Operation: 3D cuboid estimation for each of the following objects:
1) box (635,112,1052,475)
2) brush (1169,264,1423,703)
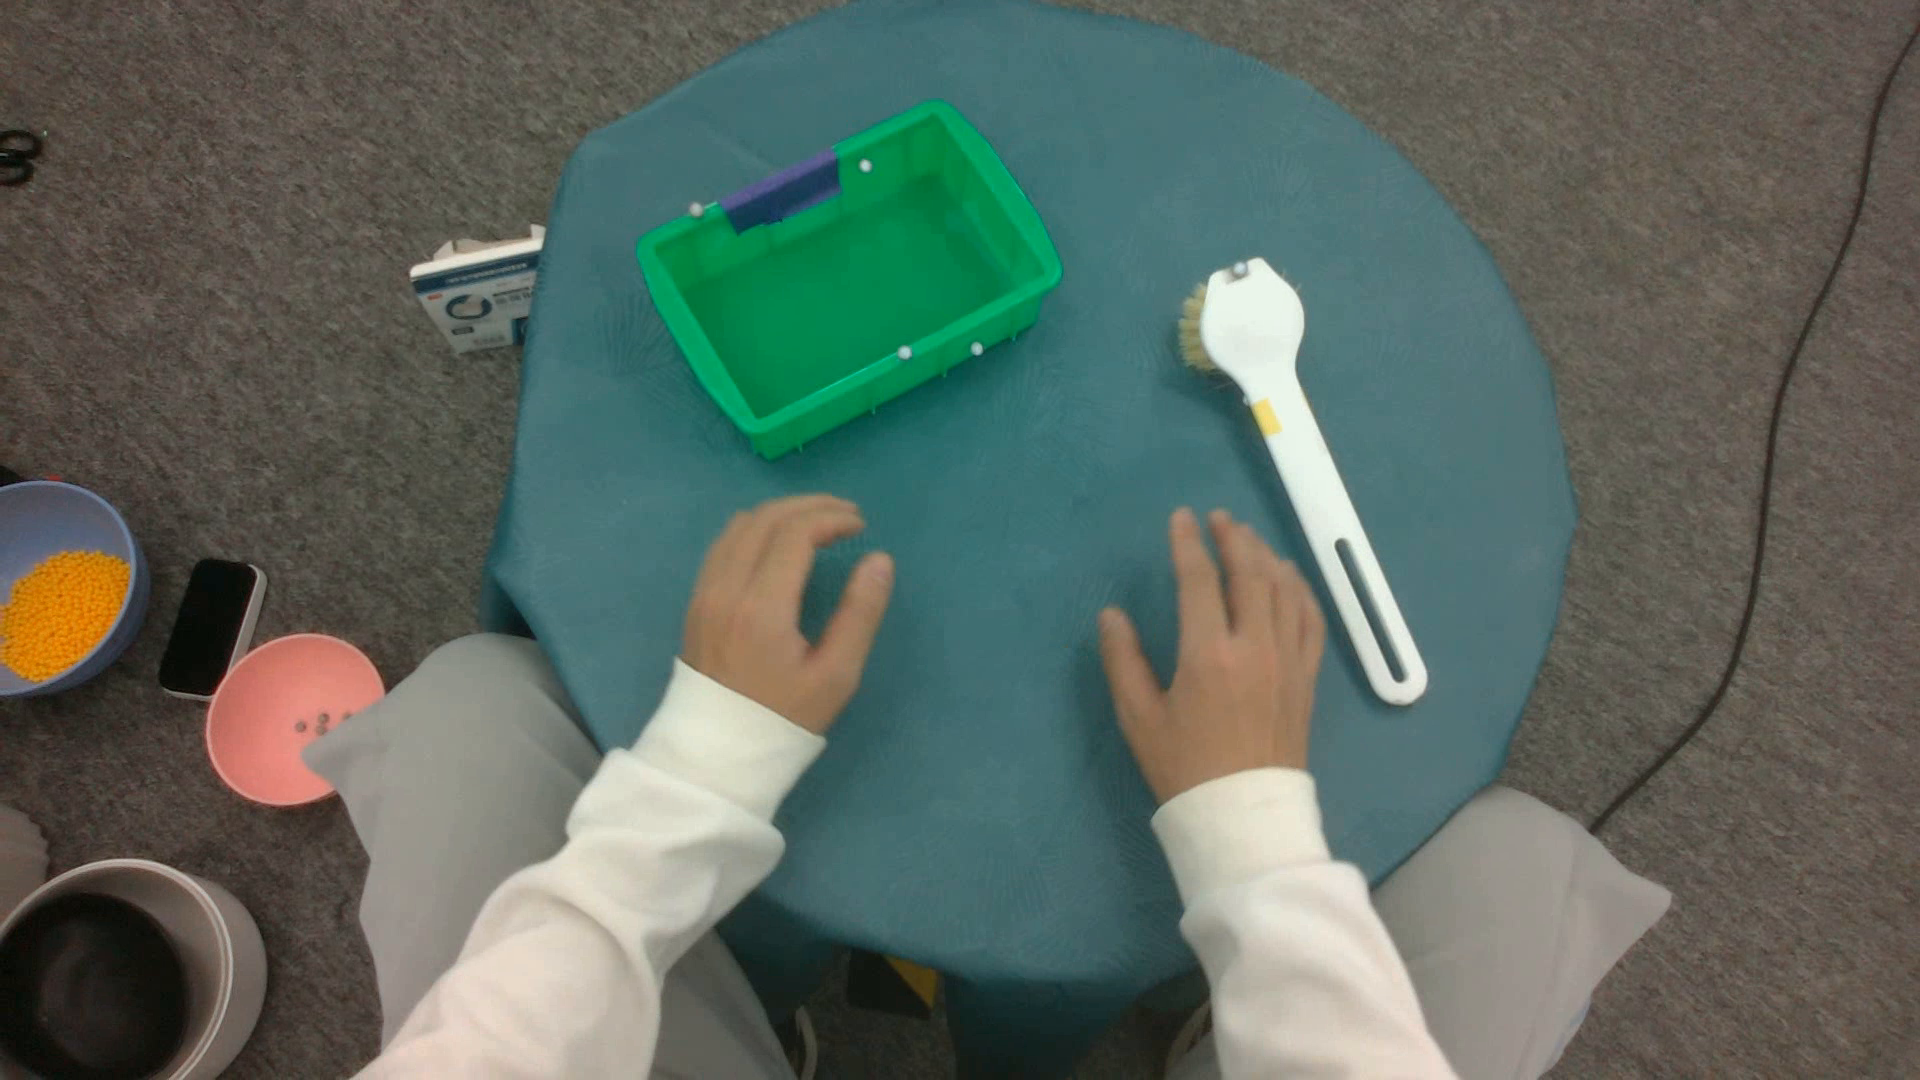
[{"bbox_3d":[-0.064,-0.138,0.792,0.211,0.065,0.139,-32,74,-10],"label":"box"},{"bbox_3d":[0.194,-0.034,0.786,0.068,0.056,0.266,-24,86,7],"label":"brush"}]
